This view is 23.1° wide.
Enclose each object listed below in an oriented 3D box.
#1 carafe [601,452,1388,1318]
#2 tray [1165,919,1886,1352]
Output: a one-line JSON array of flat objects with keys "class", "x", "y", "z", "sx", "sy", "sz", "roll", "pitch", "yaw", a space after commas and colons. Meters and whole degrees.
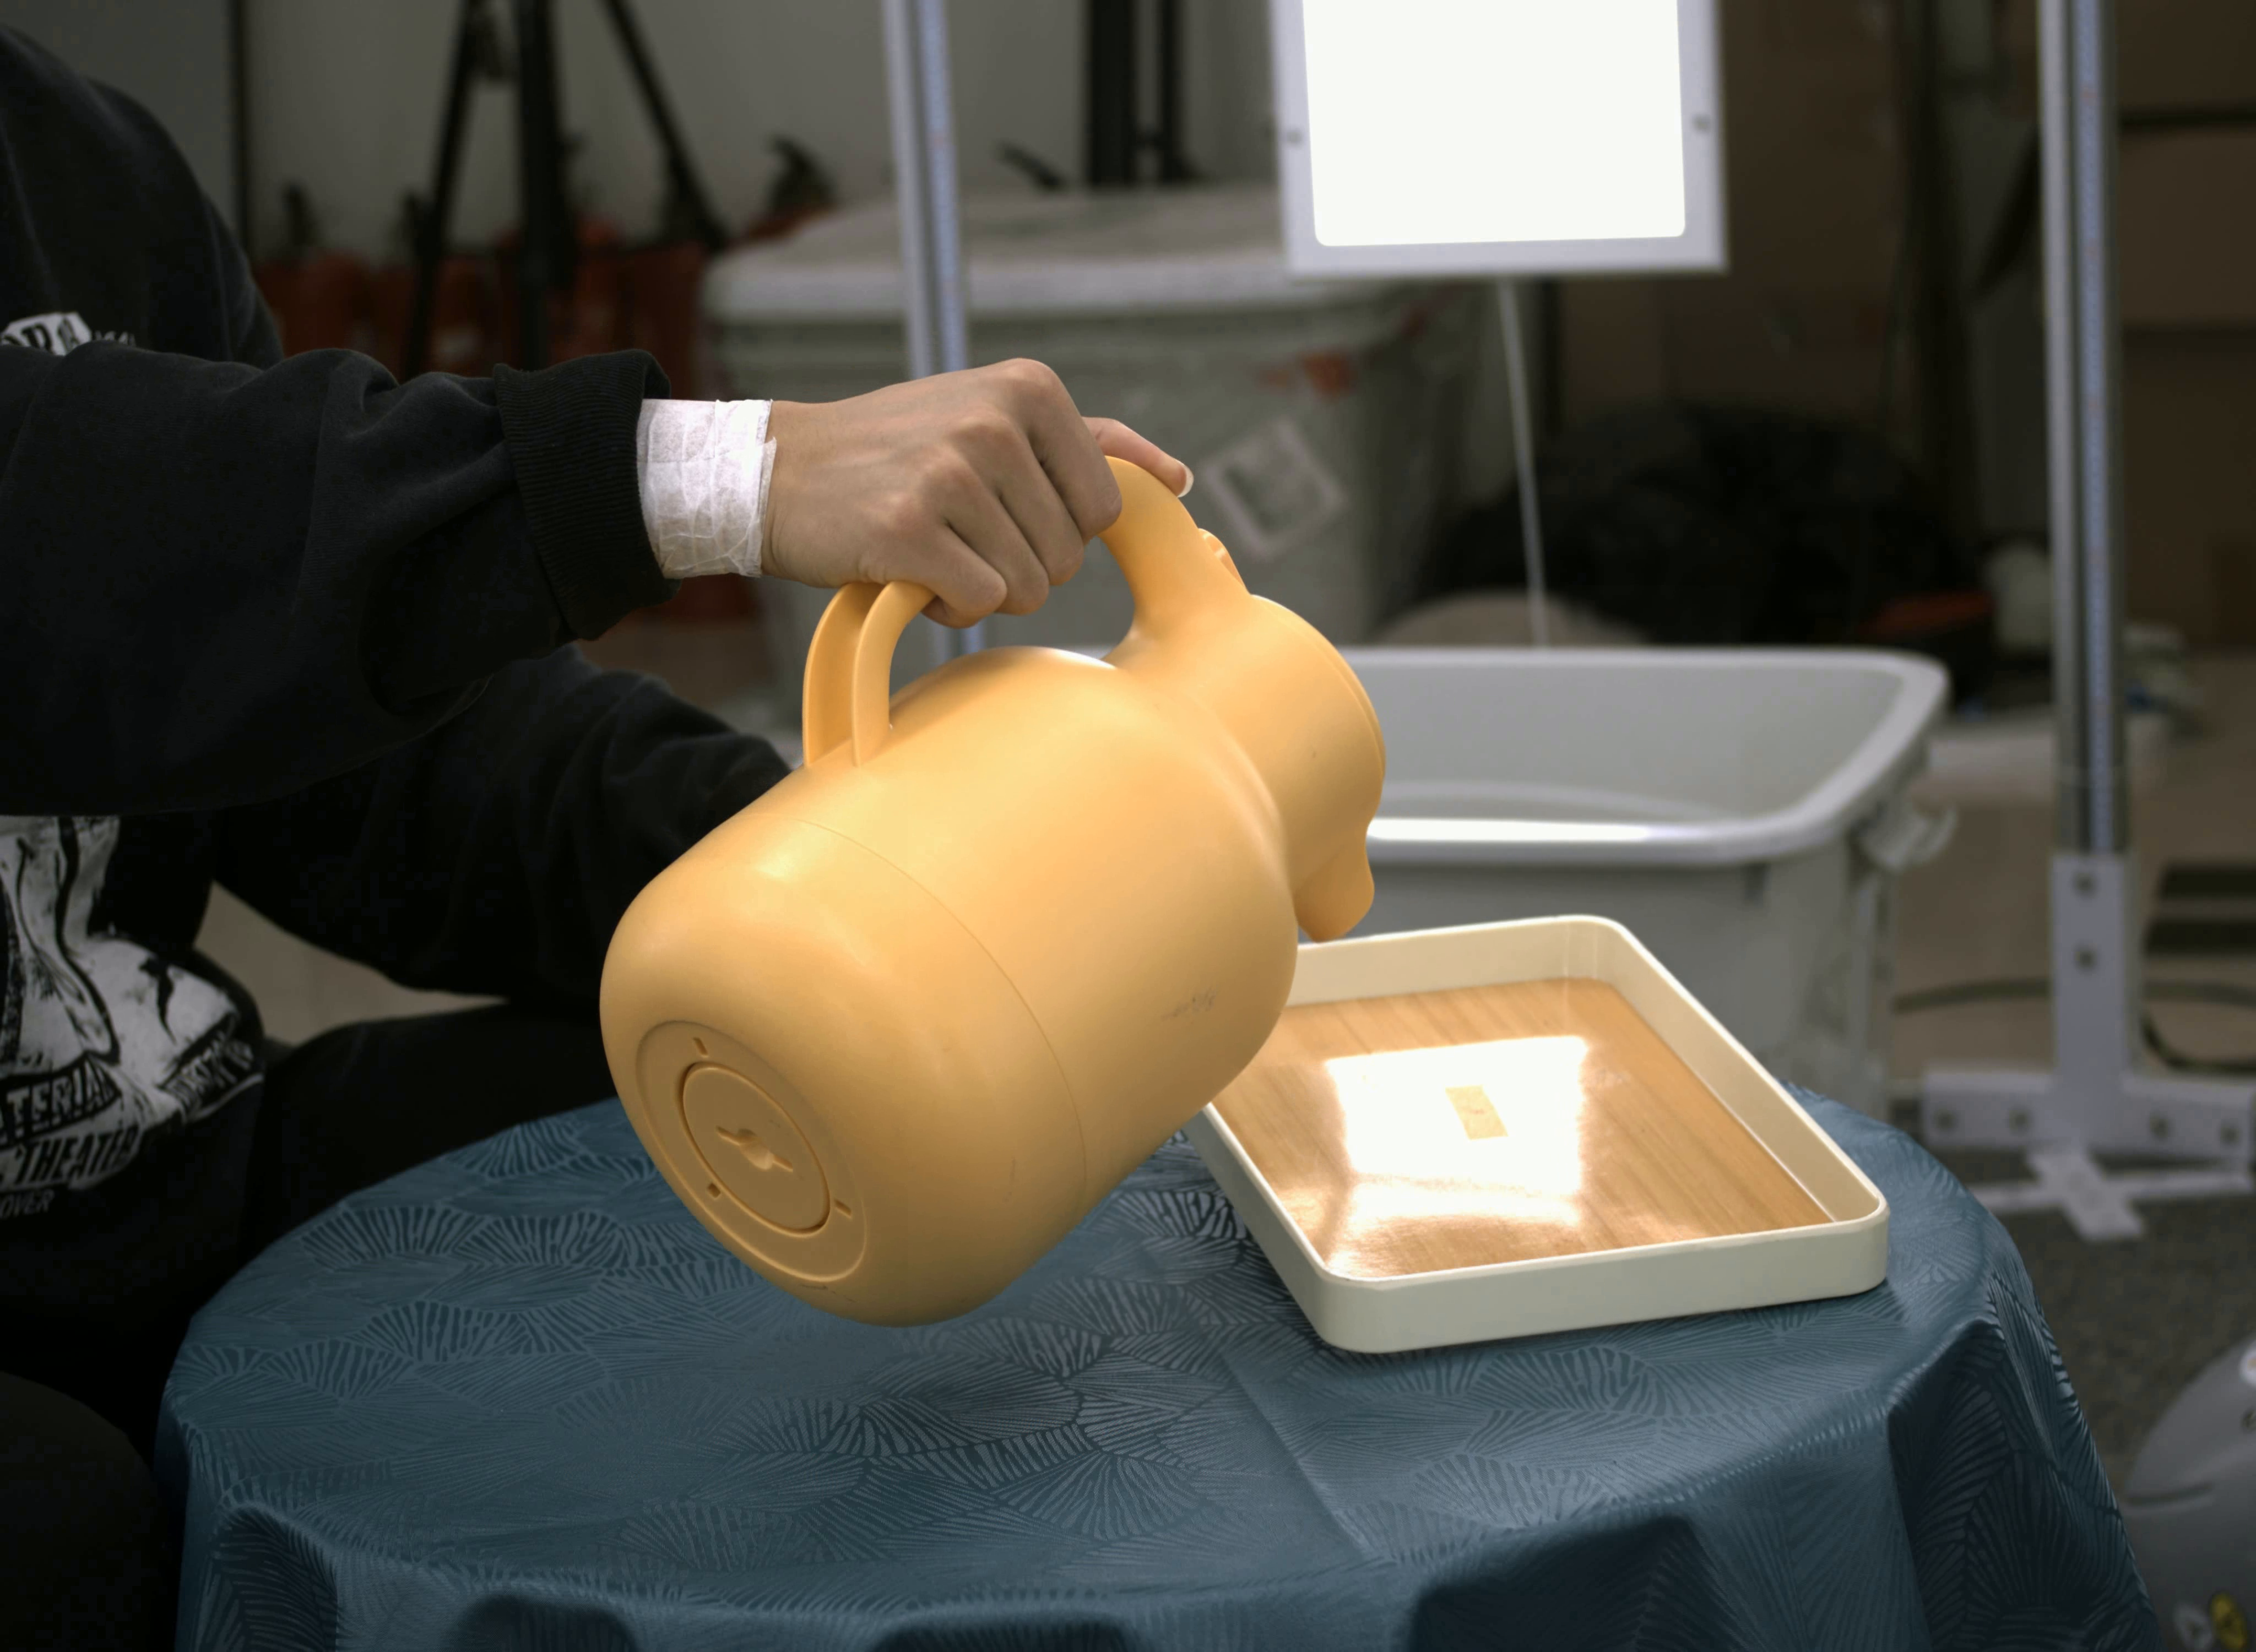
[{"class": "carafe", "x": -0.038, "y": 0.009, "z": 1.696, "sx": 0.255, "sy": 0.202, "sz": 0.167, "roll": -38, "pitch": 19, "yaw": -35}, {"class": "tray", "x": 0.119, "y": 0.099, "z": 1.848, "sx": 0.189, "sy": 0.027, "sz": 0.302, "roll": -6, "pitch": 19, "yaw": -11}]
